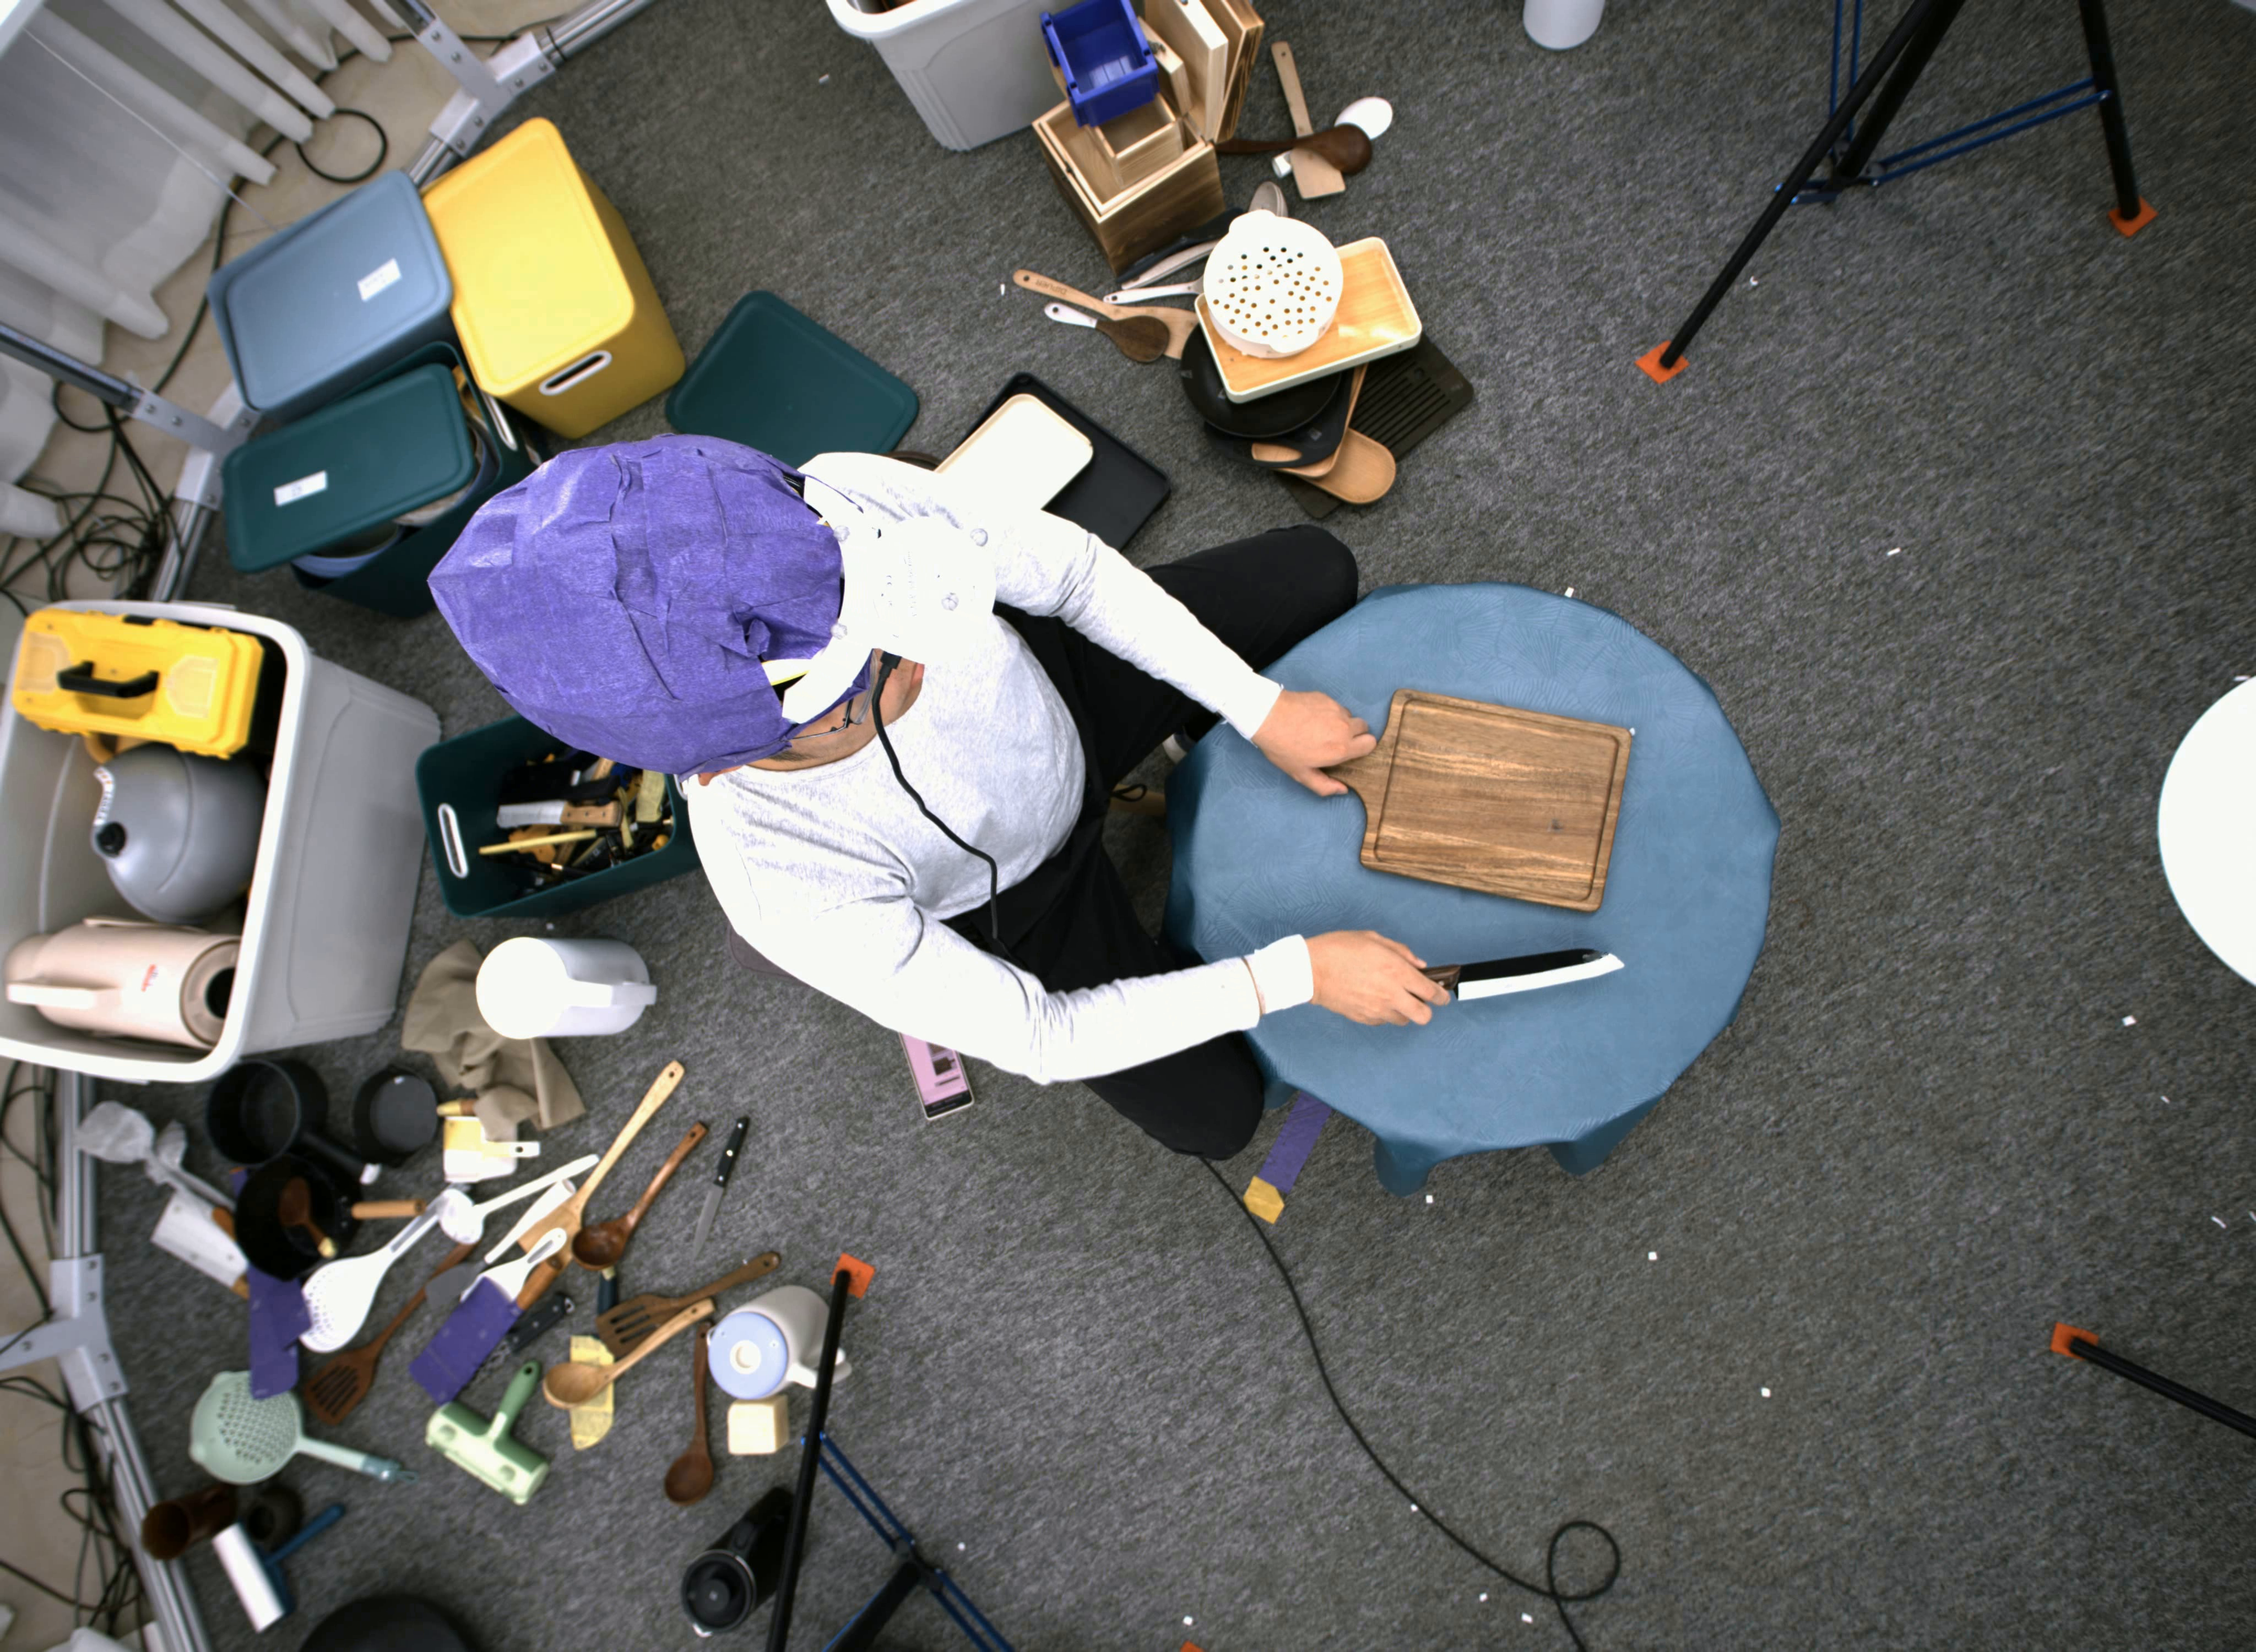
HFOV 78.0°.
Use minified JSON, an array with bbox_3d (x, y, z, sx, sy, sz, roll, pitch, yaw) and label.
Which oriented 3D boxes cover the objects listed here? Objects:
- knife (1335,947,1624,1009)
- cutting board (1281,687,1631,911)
[{"bbox_3d":[0.350,0.149,1.371,0.290,0.019,0.051,-8,127,4],"label":"knife"},{"bbox_3d":[0.335,-0.041,1.444,0.353,0.023,0.200,11,88,11],"label":"cutting board"}]
